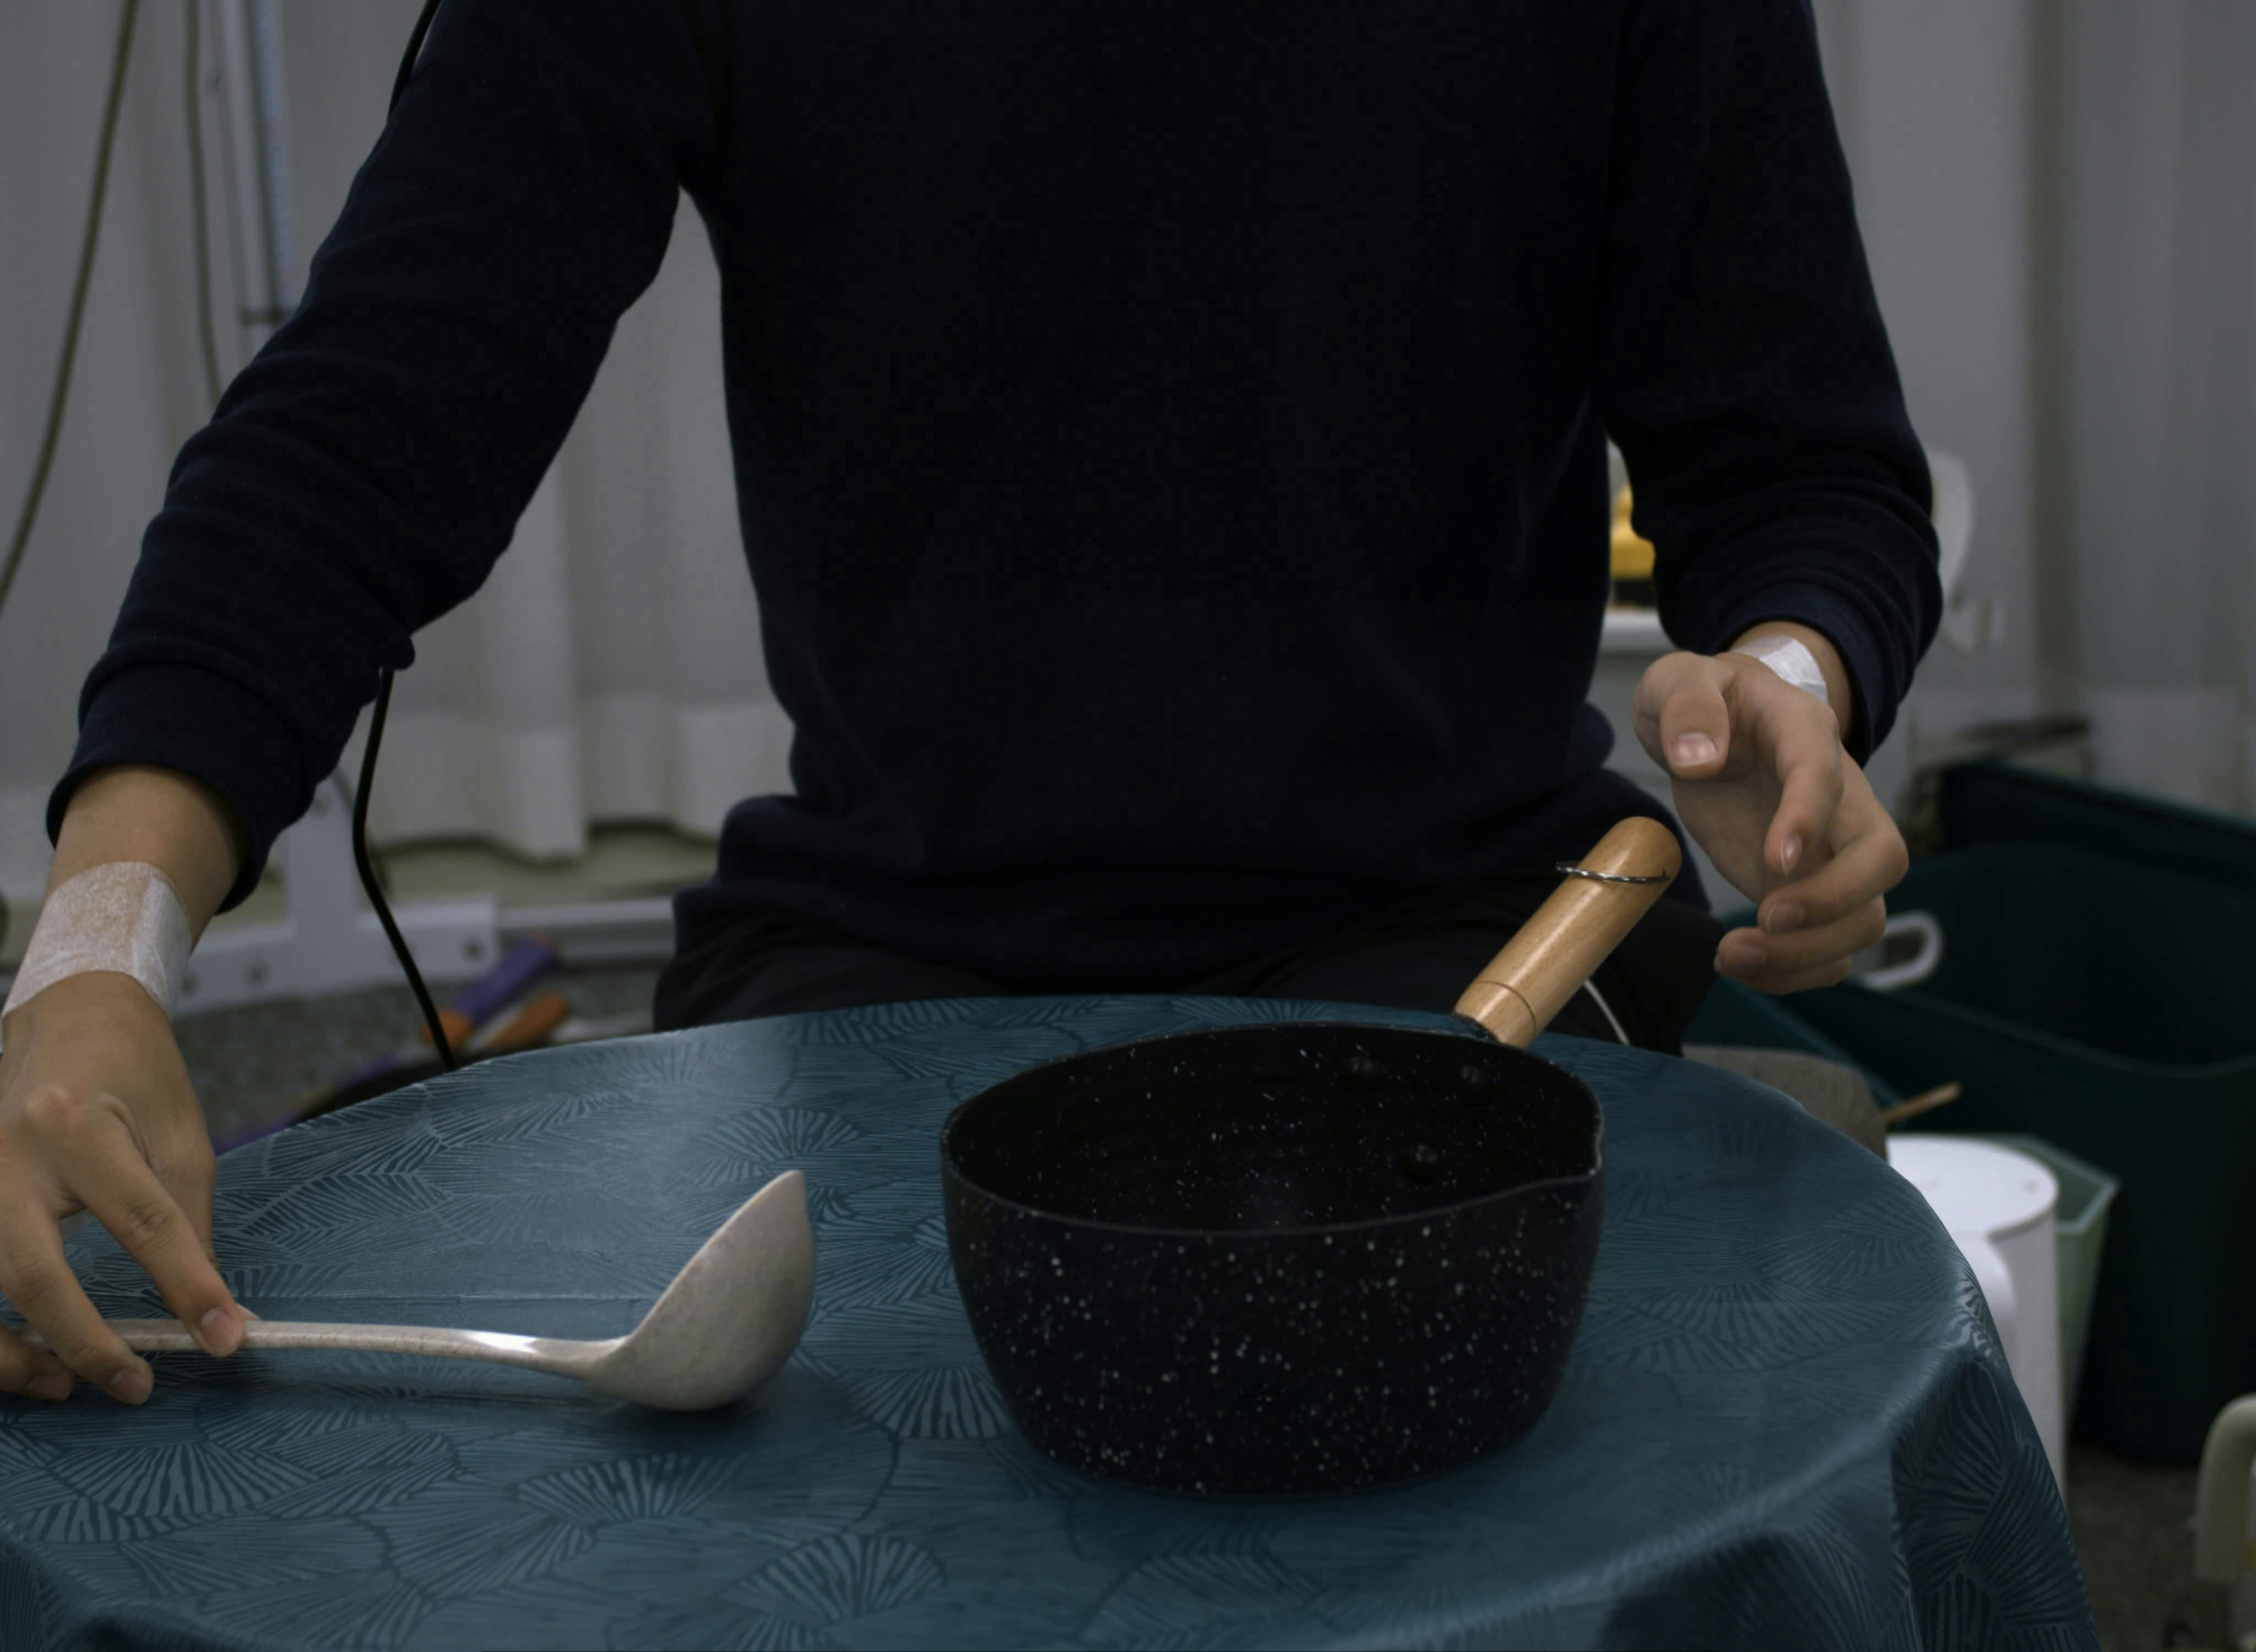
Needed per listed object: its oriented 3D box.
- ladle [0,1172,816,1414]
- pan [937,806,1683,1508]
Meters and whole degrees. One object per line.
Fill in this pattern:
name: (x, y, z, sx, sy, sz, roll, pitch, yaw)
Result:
ladle: (-0.222, 0.130, 1.577, 0.275, 0.069, 0.089, 1, 10, 17)
pan: (0.079, 0.090, 1.583, 0.208, 0.108, 0.343, 4, 18, 29)
